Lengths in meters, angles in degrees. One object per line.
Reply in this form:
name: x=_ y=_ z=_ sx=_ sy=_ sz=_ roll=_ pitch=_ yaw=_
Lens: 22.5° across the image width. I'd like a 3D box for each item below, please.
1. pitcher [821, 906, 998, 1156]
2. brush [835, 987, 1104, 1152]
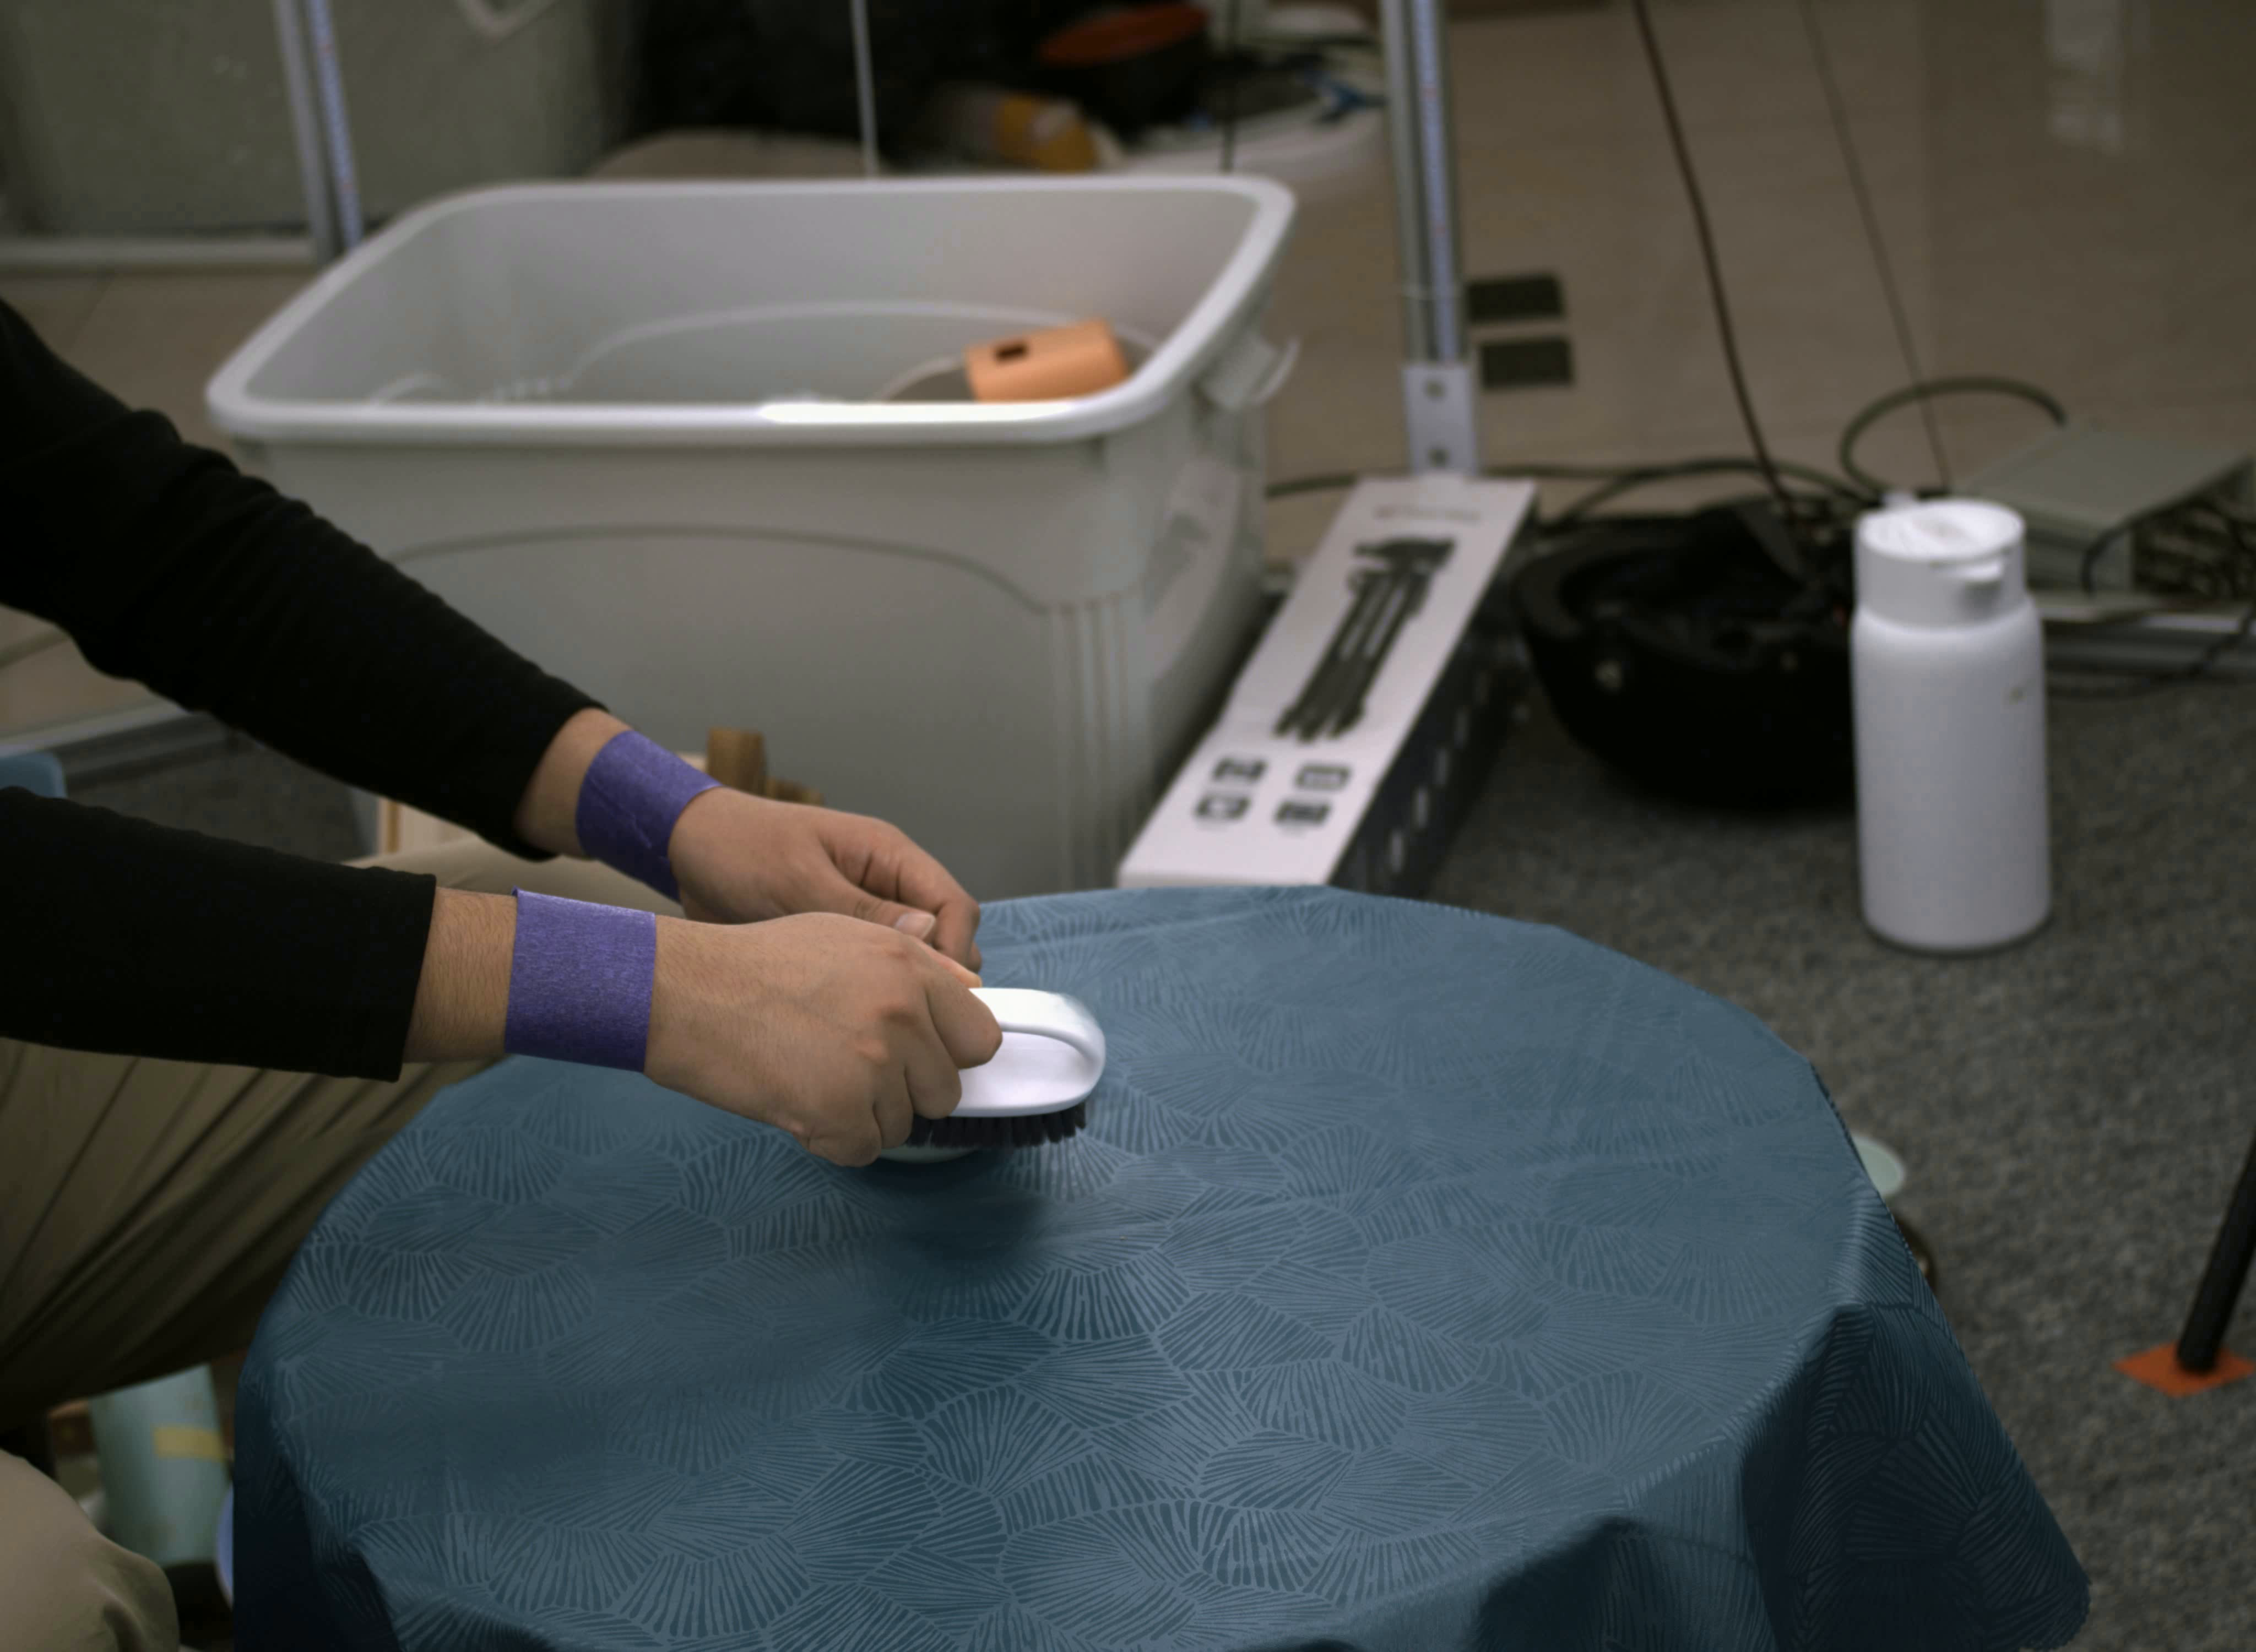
pitcher: x=-0.079 y=0.082 z=2.212 sx=0.086 sy=0.061 sz=0.106 roll=-9 pitch=40 yaw=21
brush: x=-0.057 y=0.083 z=2.108 sx=0.099 sy=0.073 sz=0.049 roll=4 pitch=61 yaw=-6
